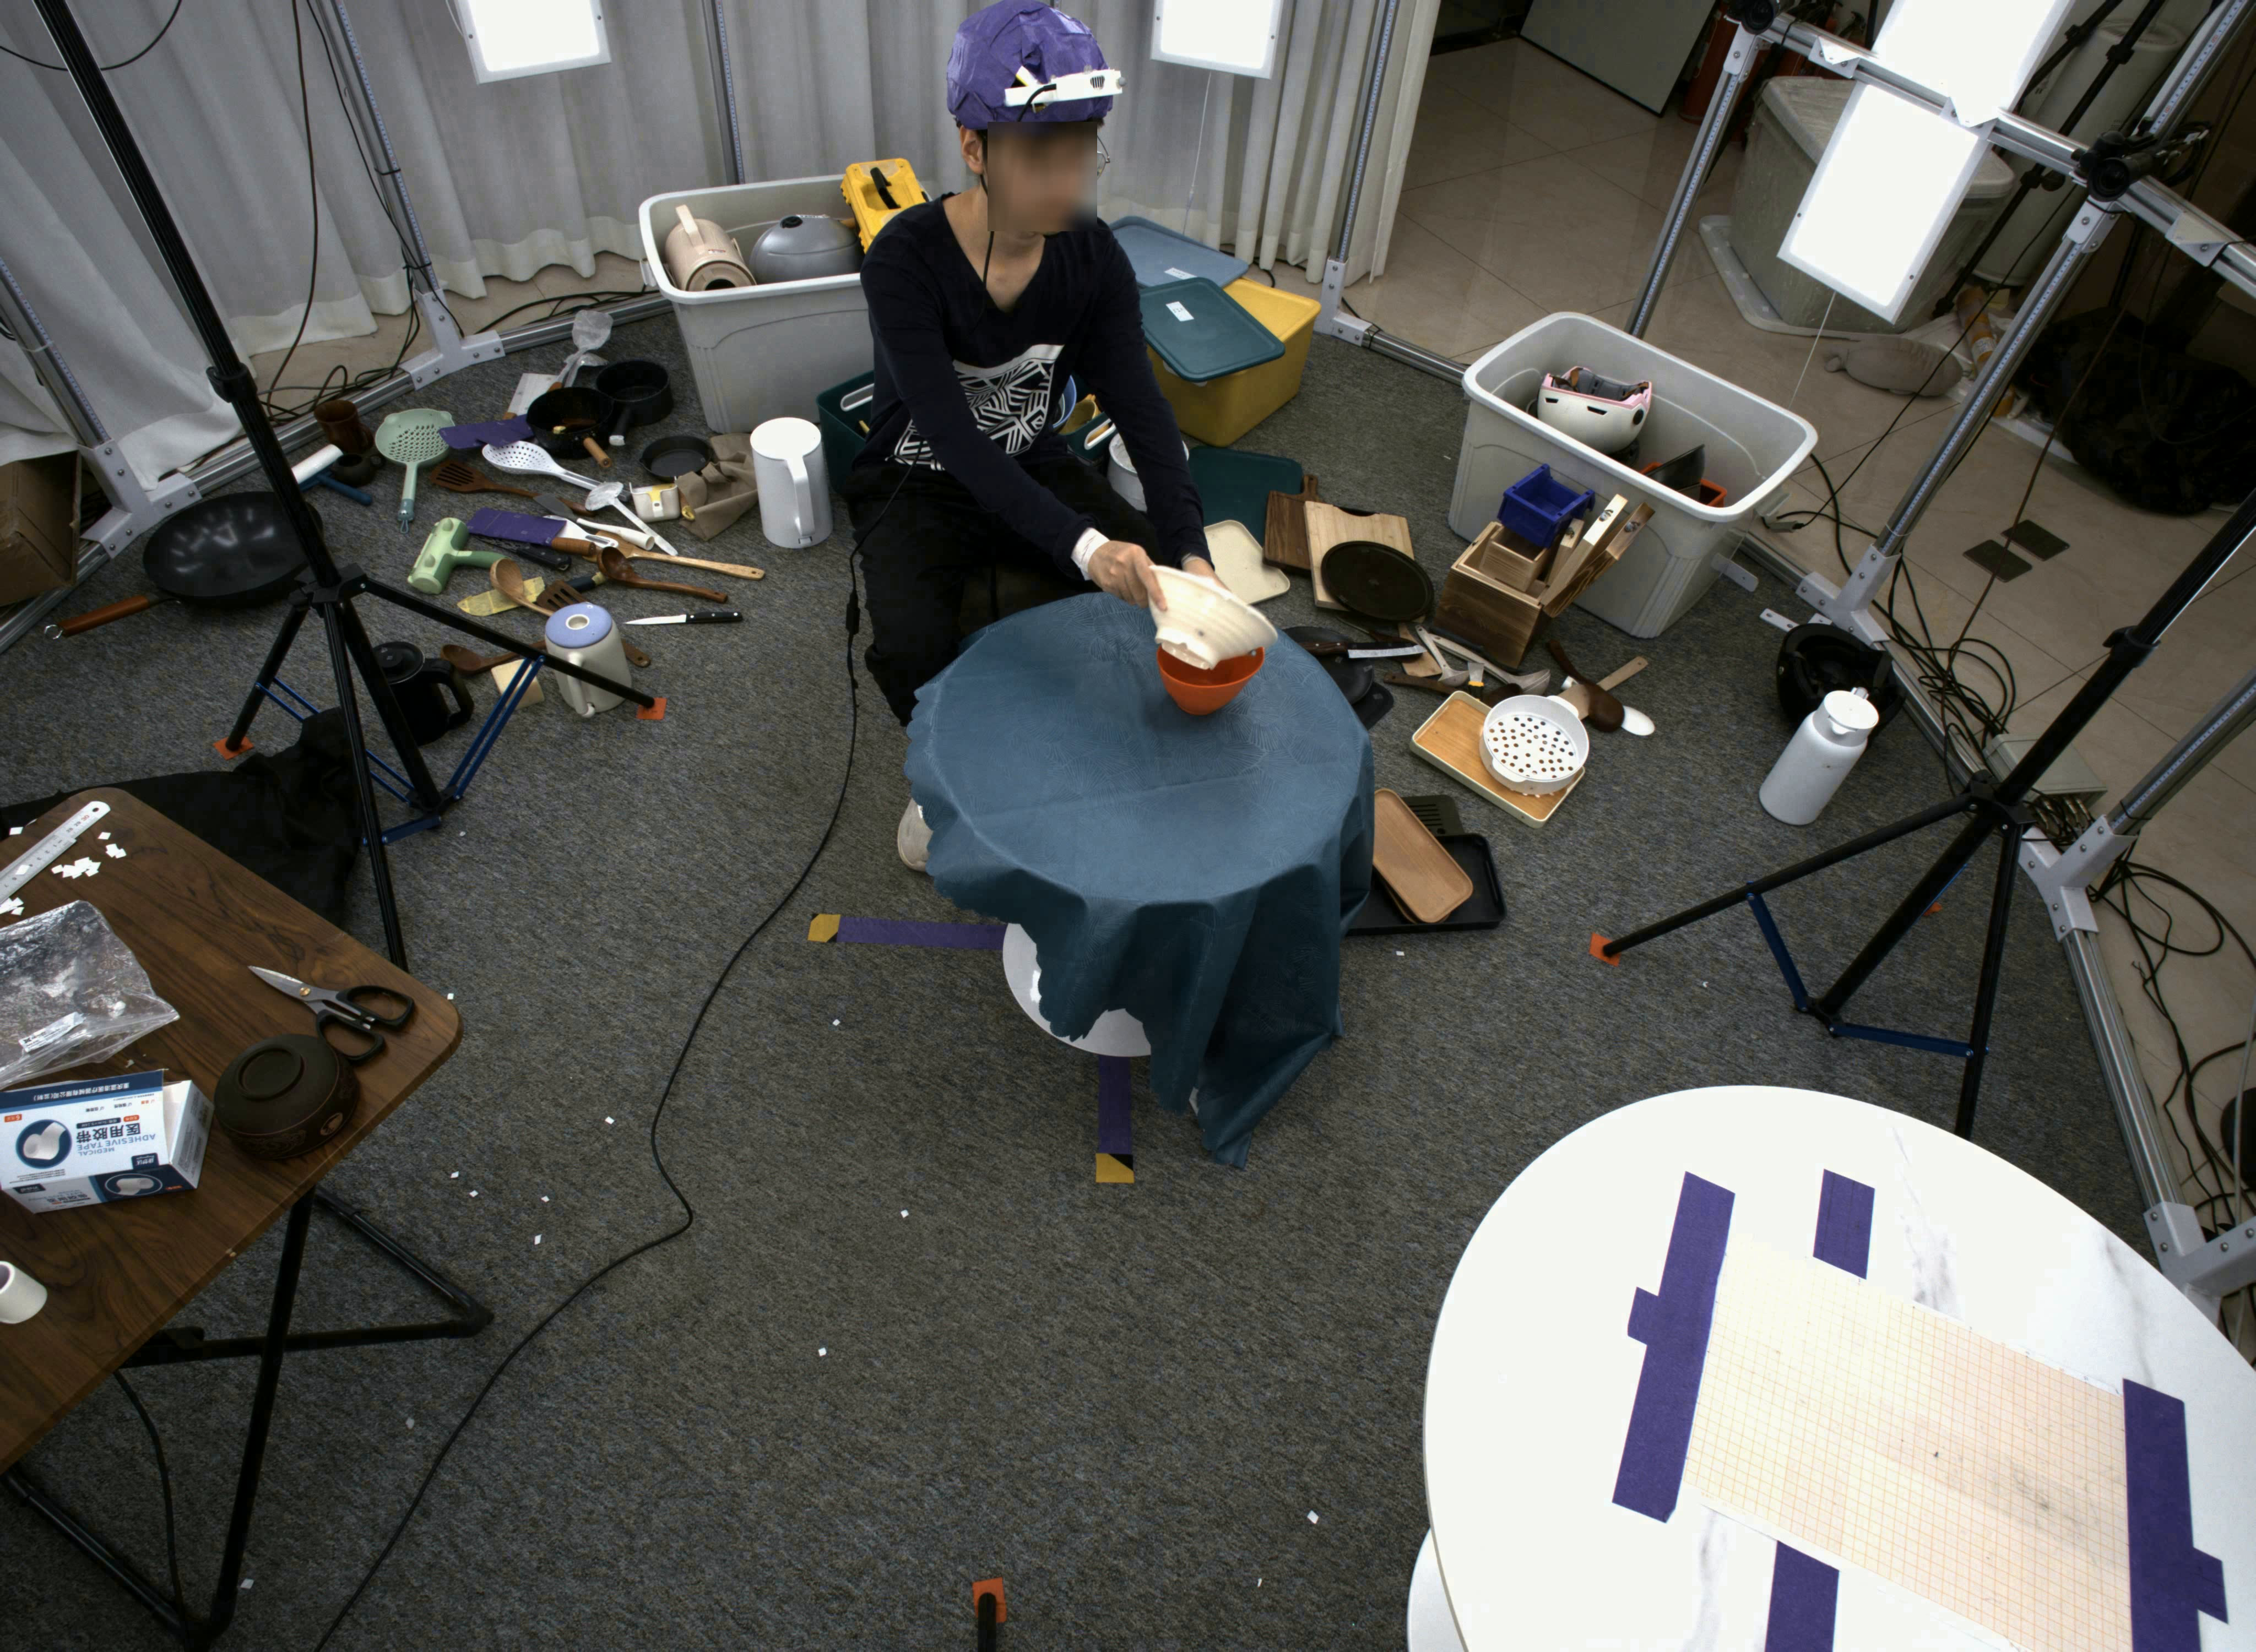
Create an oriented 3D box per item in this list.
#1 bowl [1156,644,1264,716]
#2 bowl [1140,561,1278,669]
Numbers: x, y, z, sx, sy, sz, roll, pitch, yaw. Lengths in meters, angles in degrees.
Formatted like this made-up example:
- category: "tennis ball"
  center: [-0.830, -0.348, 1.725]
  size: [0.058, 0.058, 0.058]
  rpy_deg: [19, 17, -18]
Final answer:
- category: "bowl"
  center: [0.110, -0.207, 1.790]
  size: [0.148, 0.102, 0.152]
  rpy_deg: [1, 47, -2]
- category: "bowl"
  center: [0.092, -0.262, 1.700]
  size: [0.205, 0.201, 0.078]
  rpy_deg: [25, 82, 16]
